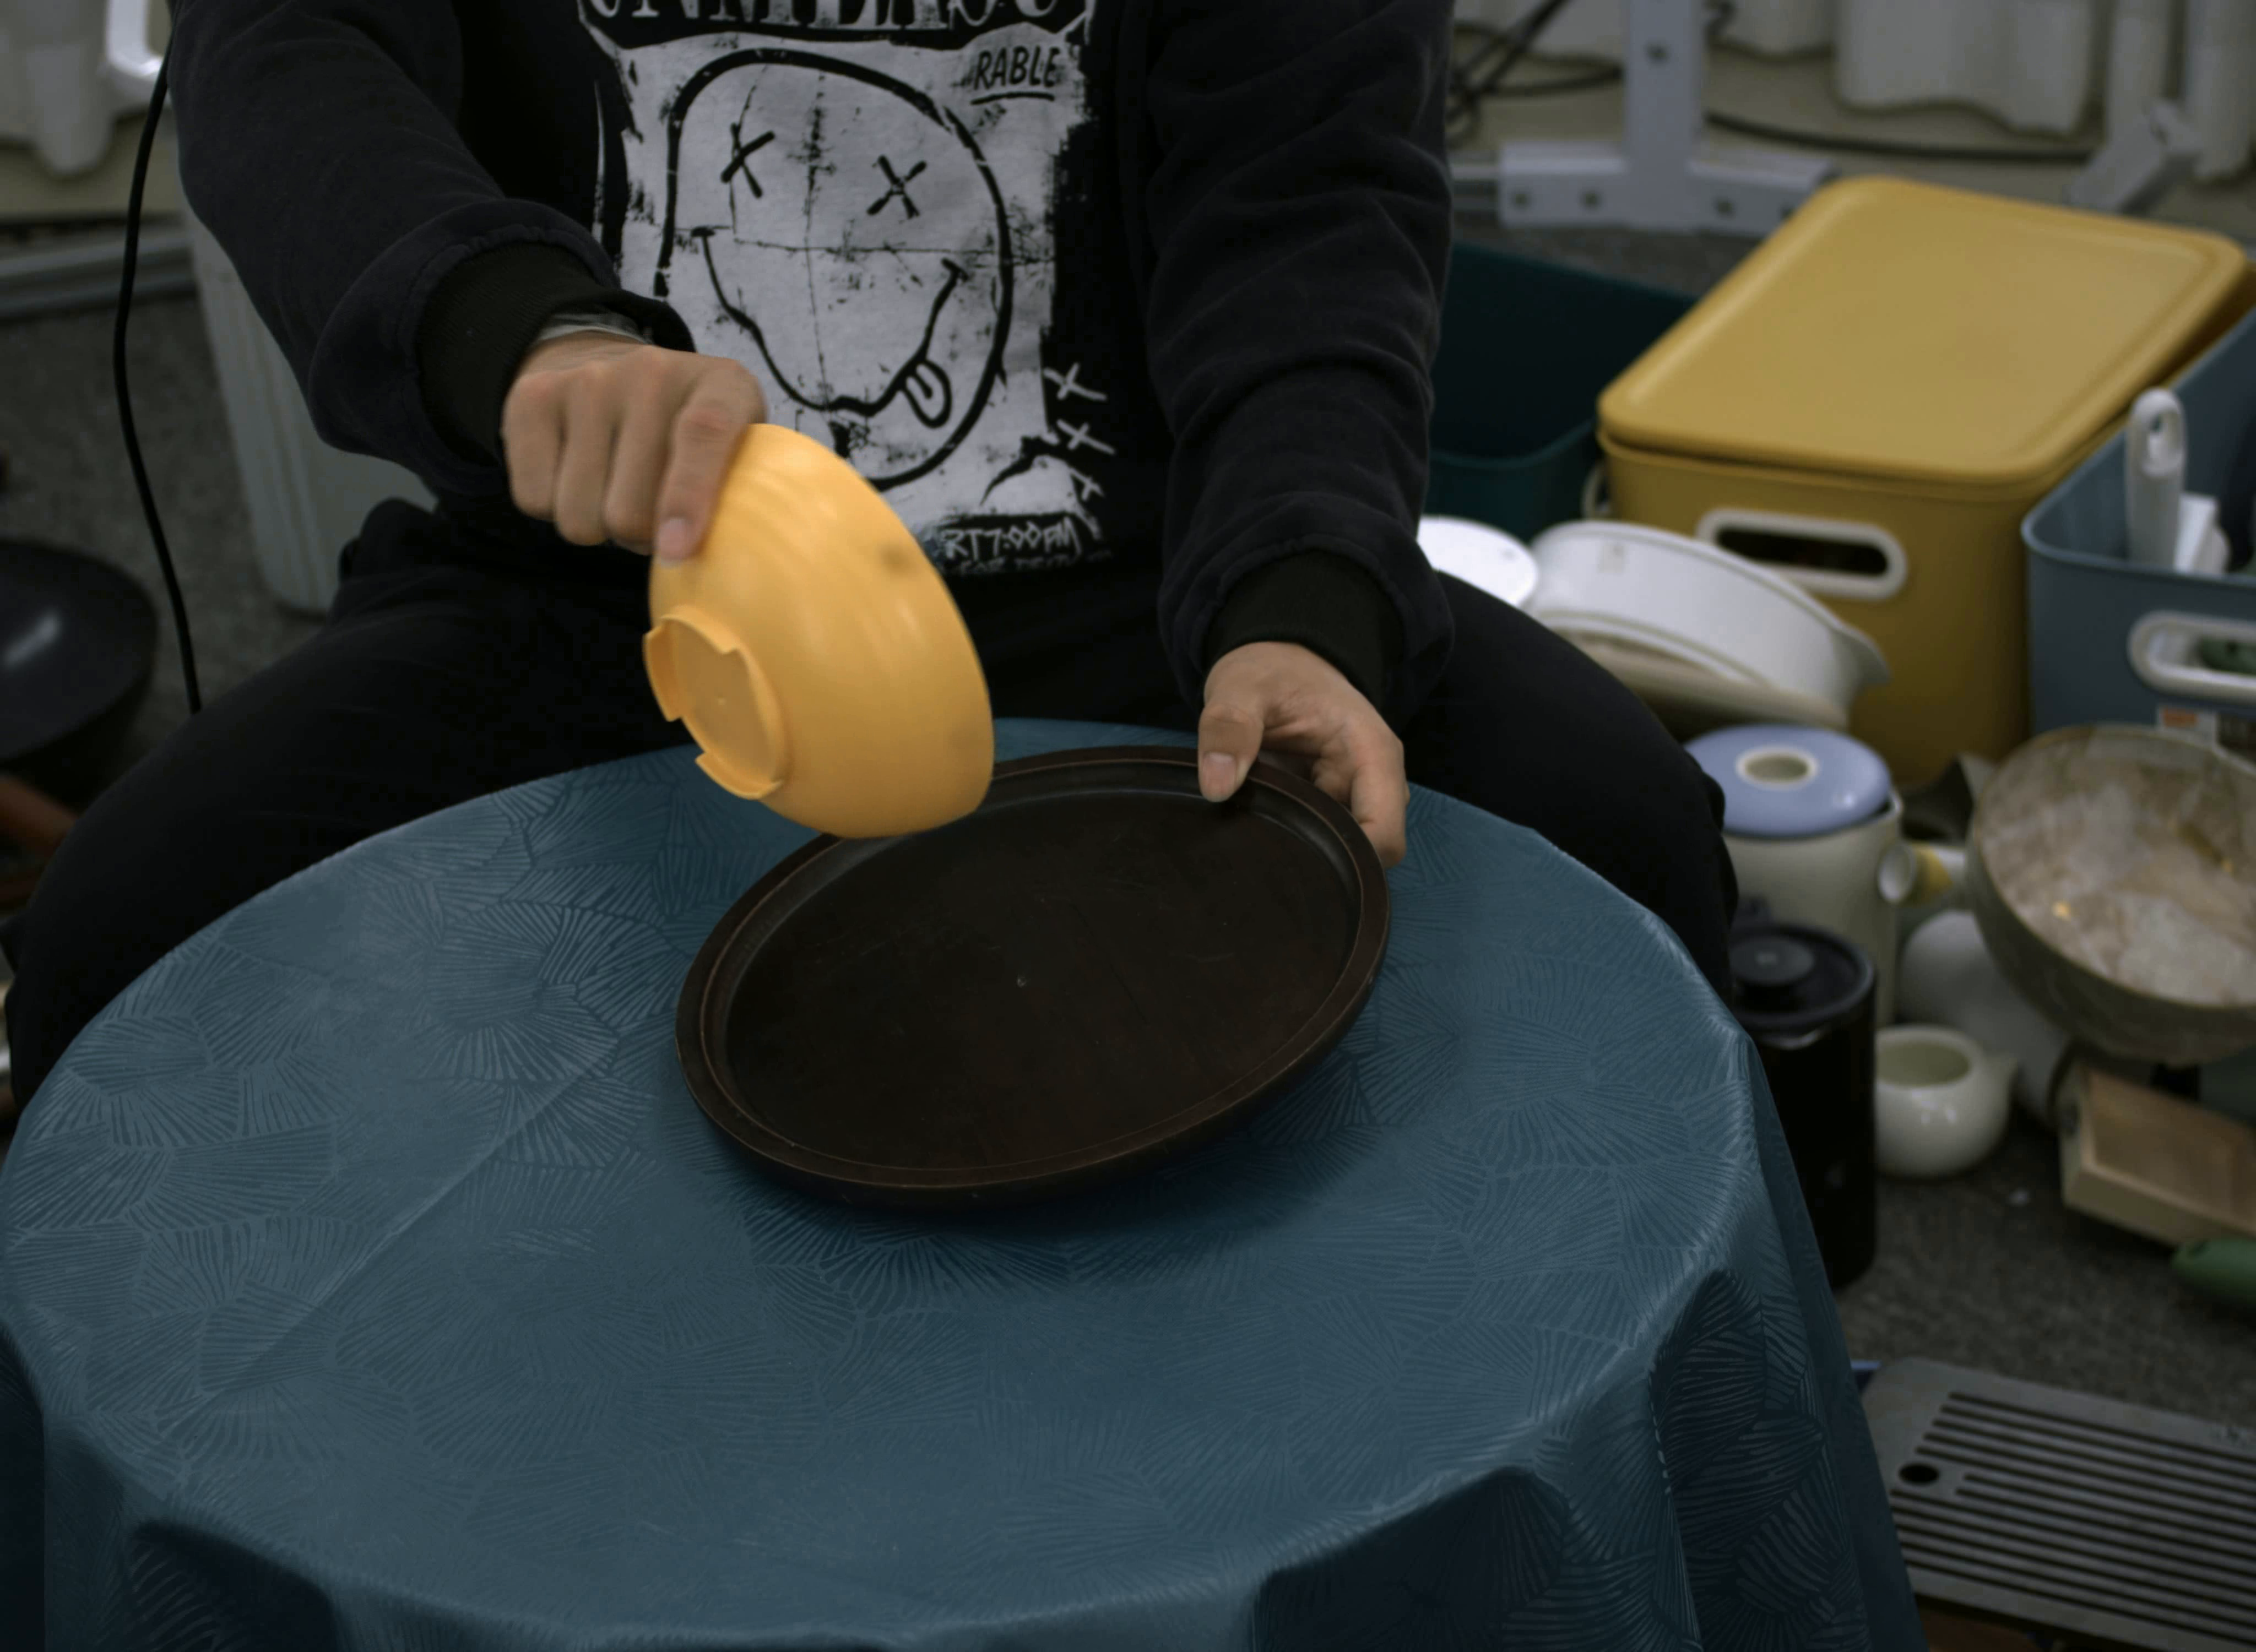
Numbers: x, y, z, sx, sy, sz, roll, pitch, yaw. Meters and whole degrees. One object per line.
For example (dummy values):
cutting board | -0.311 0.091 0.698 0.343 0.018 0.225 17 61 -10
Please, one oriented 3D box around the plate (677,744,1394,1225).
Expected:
plate | -0.031 0.053 1.930 0.253 0.029 0.259 -11 32 7

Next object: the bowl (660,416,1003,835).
bowl | -0.107 -0.053 1.797 0.061 0.143 0.145 -29 36 -29
